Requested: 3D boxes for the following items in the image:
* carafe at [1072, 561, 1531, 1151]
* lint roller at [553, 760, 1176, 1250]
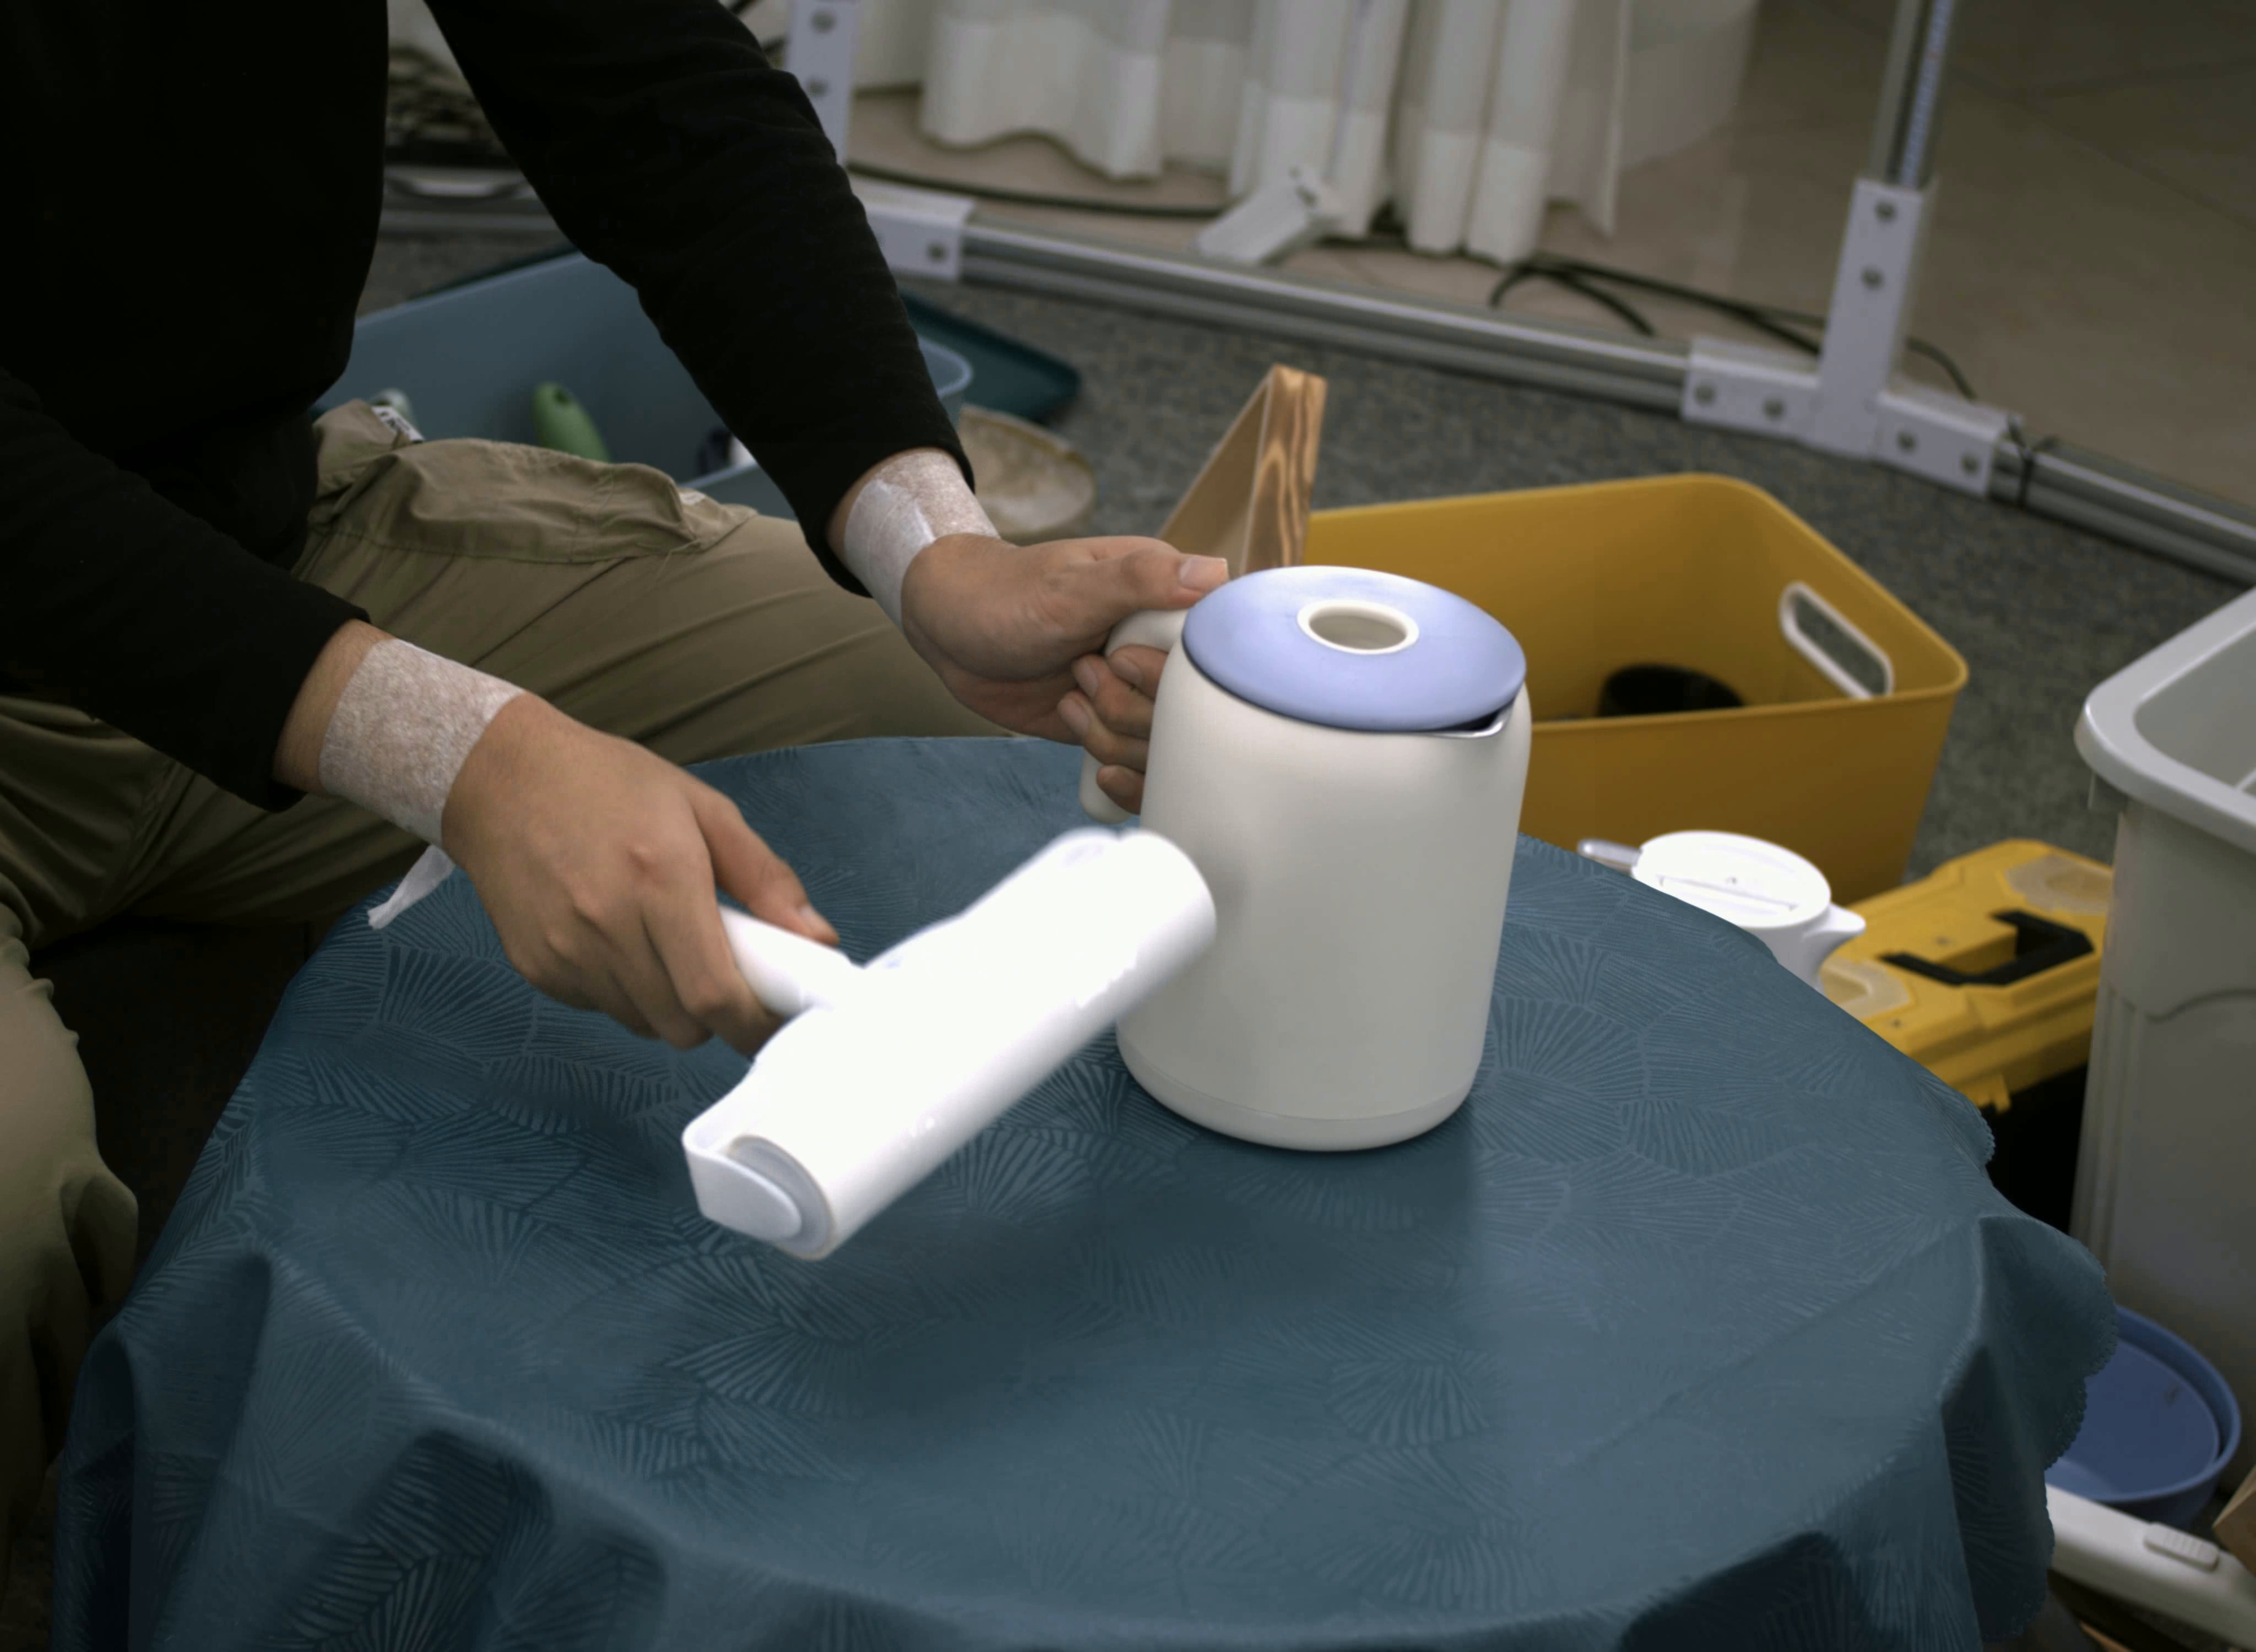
[{"bbox_3d":[0.051,0.001,1.866,0.131,0.182,0.192,-18,33,-41],"label":"carafe"},{"bbox_3d":[-0.119,0.047,1.759,0.227,0.048,0.203,8,45,44],"label":"lint roller"}]
